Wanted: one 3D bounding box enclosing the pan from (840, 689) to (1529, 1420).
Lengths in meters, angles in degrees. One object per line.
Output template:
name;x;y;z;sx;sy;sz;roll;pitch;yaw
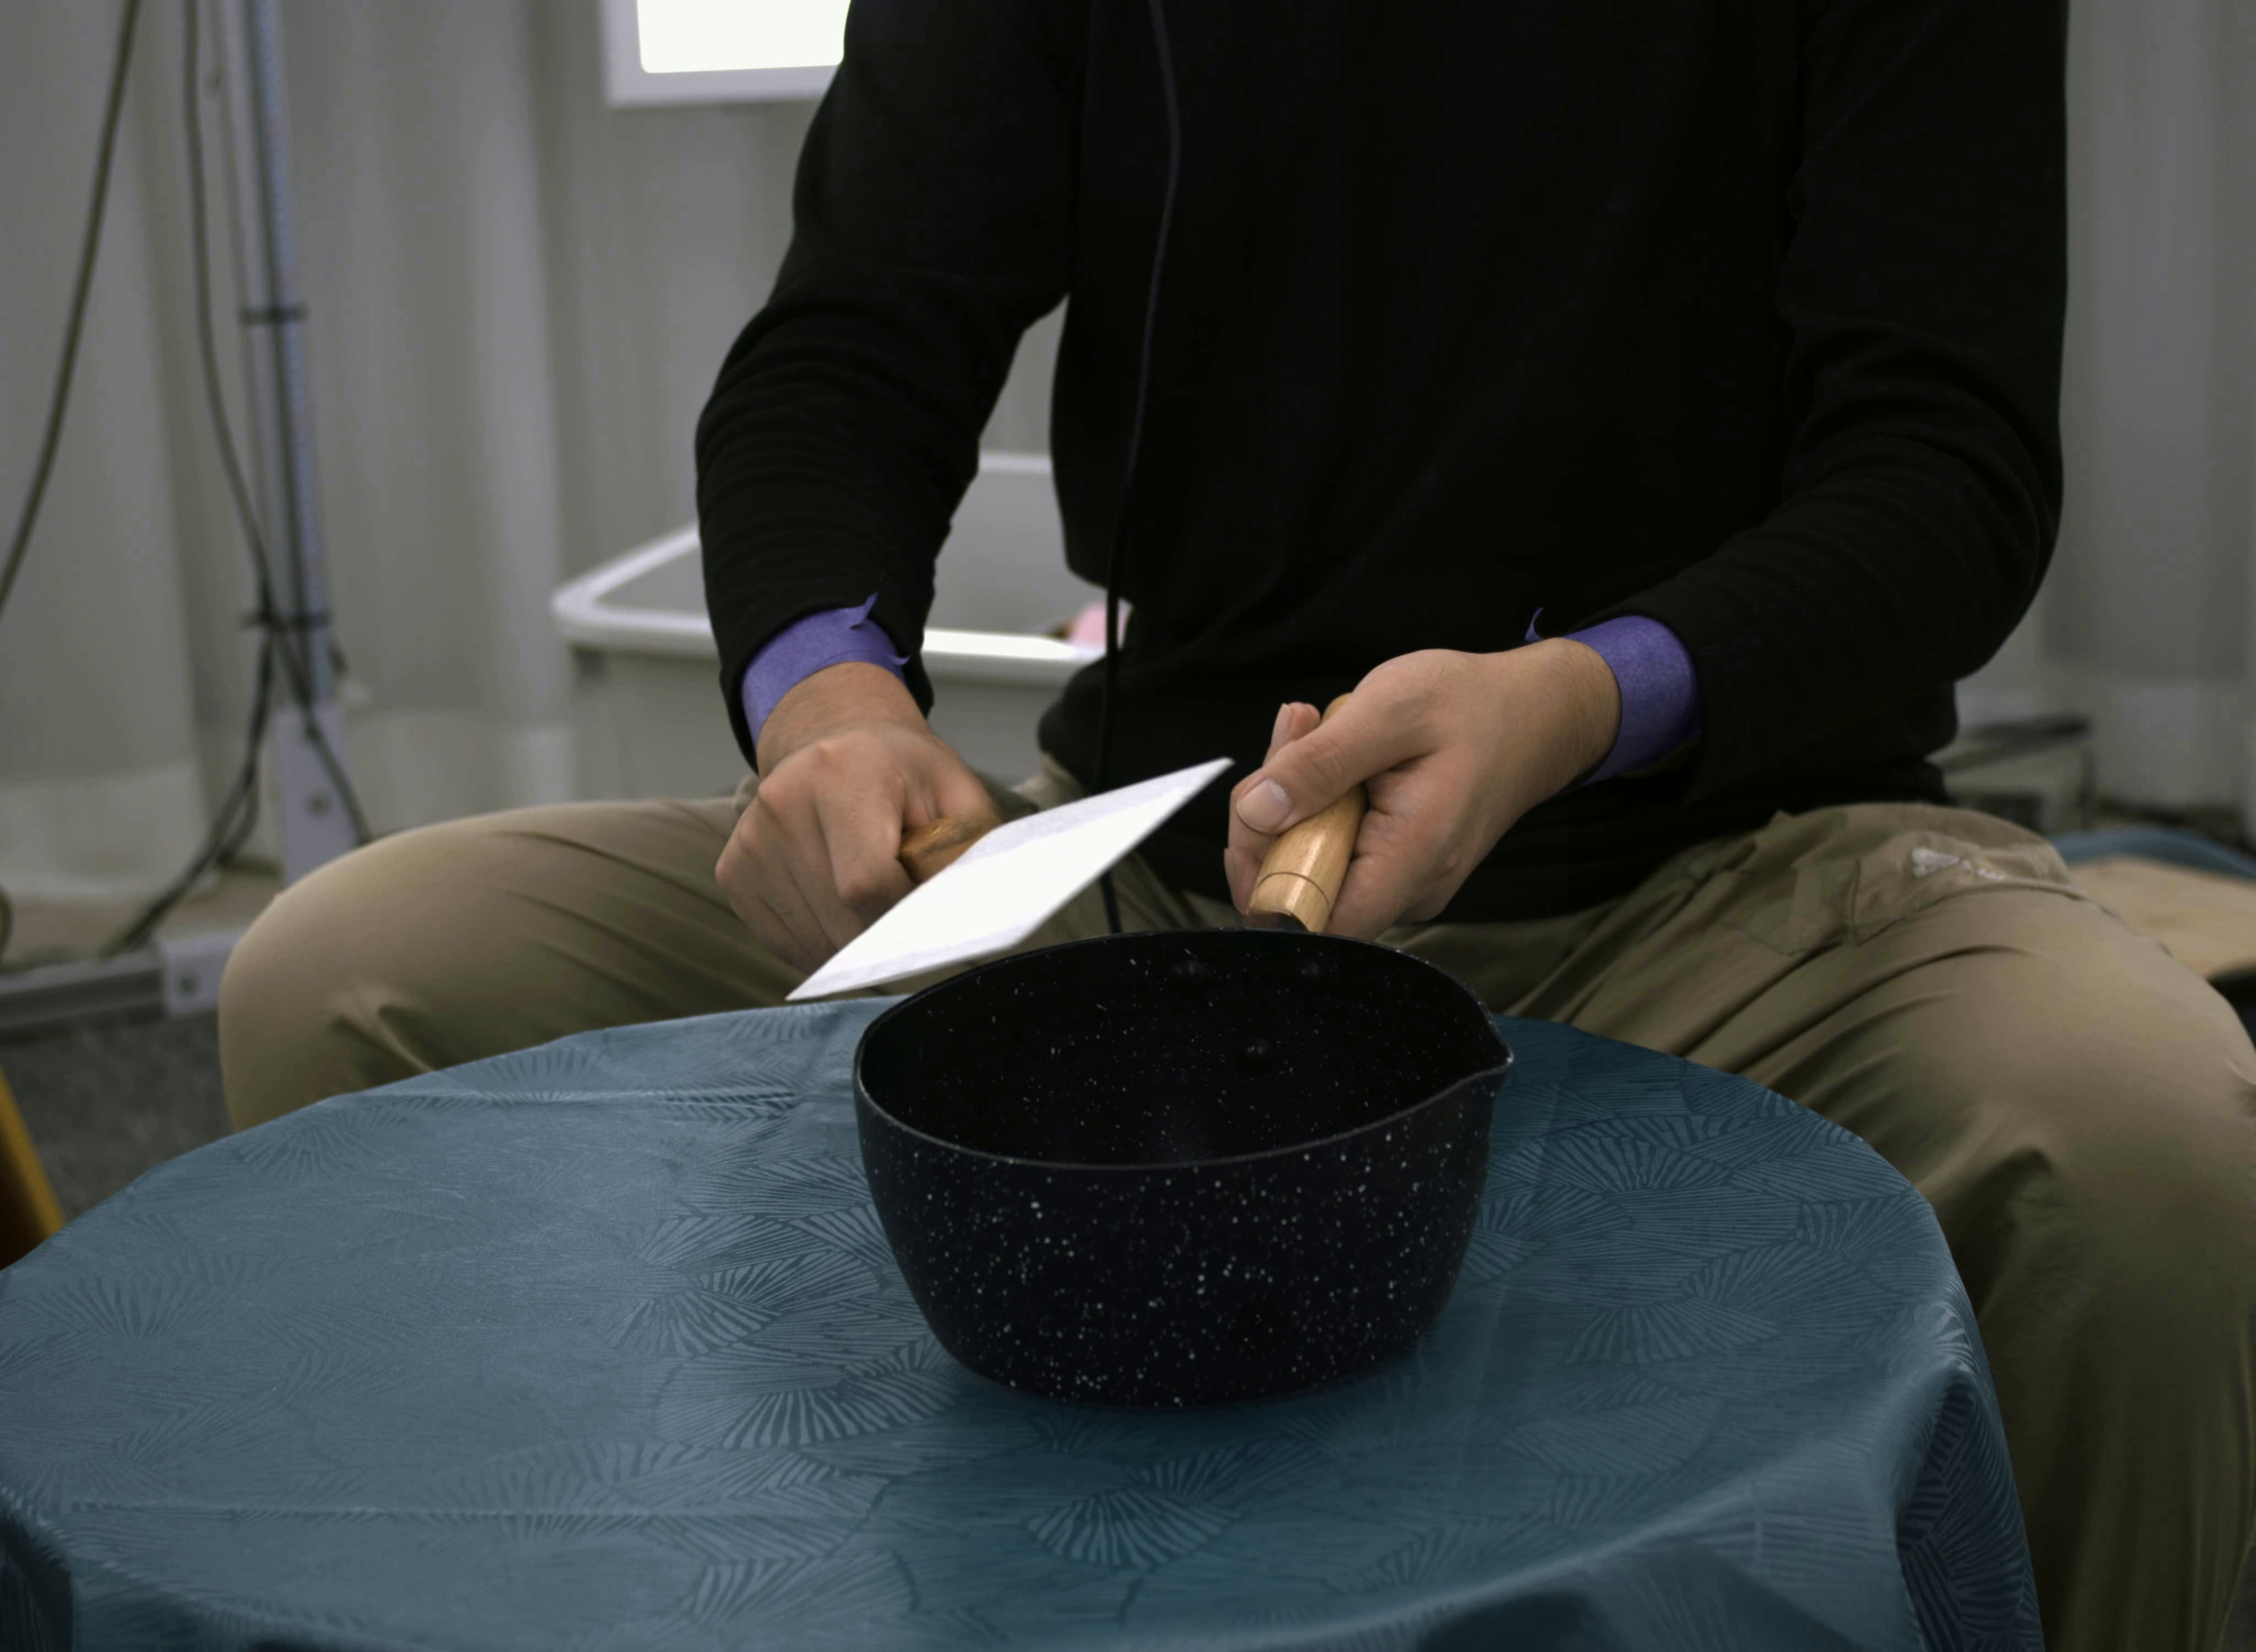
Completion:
pan;0.034;0.064;1.651;0.207;0.107;0.345;1;21;15

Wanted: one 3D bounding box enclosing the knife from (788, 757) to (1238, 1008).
knife;-0.057;0.023;1.679;0.093;0.021;0.305;-41;10;-22
